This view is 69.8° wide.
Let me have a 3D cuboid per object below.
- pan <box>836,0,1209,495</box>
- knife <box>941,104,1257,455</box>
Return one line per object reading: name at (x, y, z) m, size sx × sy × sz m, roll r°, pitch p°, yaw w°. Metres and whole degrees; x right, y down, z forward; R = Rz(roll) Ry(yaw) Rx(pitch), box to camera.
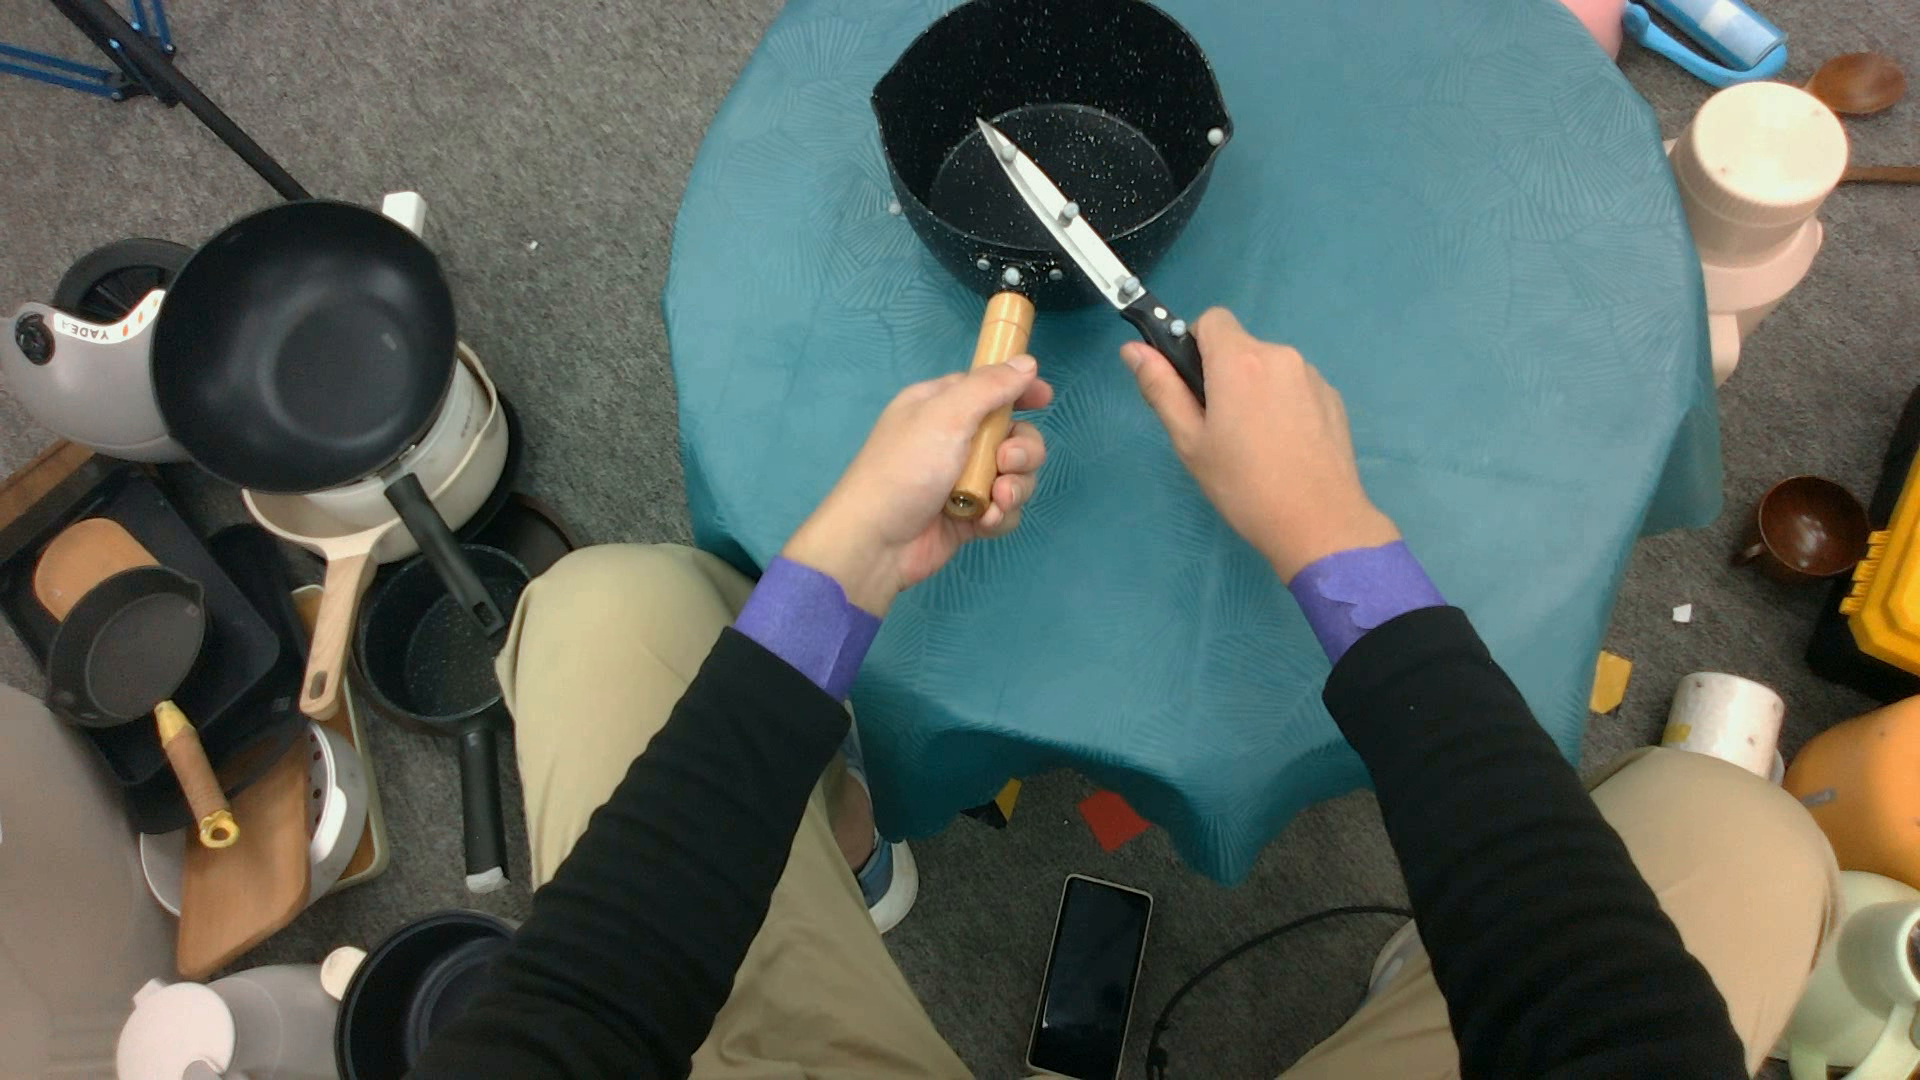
pan at (0.022, -0.160, 0.746) m, size 0.207 × 0.108 × 0.344 m, roll 7°, pitch 66°, yaw 6°
knife at (0.071, -0.137, 0.704) m, size 0.024 × 0.016 × 0.238 m, roll -39°, pitch 85°, yaw -32°
